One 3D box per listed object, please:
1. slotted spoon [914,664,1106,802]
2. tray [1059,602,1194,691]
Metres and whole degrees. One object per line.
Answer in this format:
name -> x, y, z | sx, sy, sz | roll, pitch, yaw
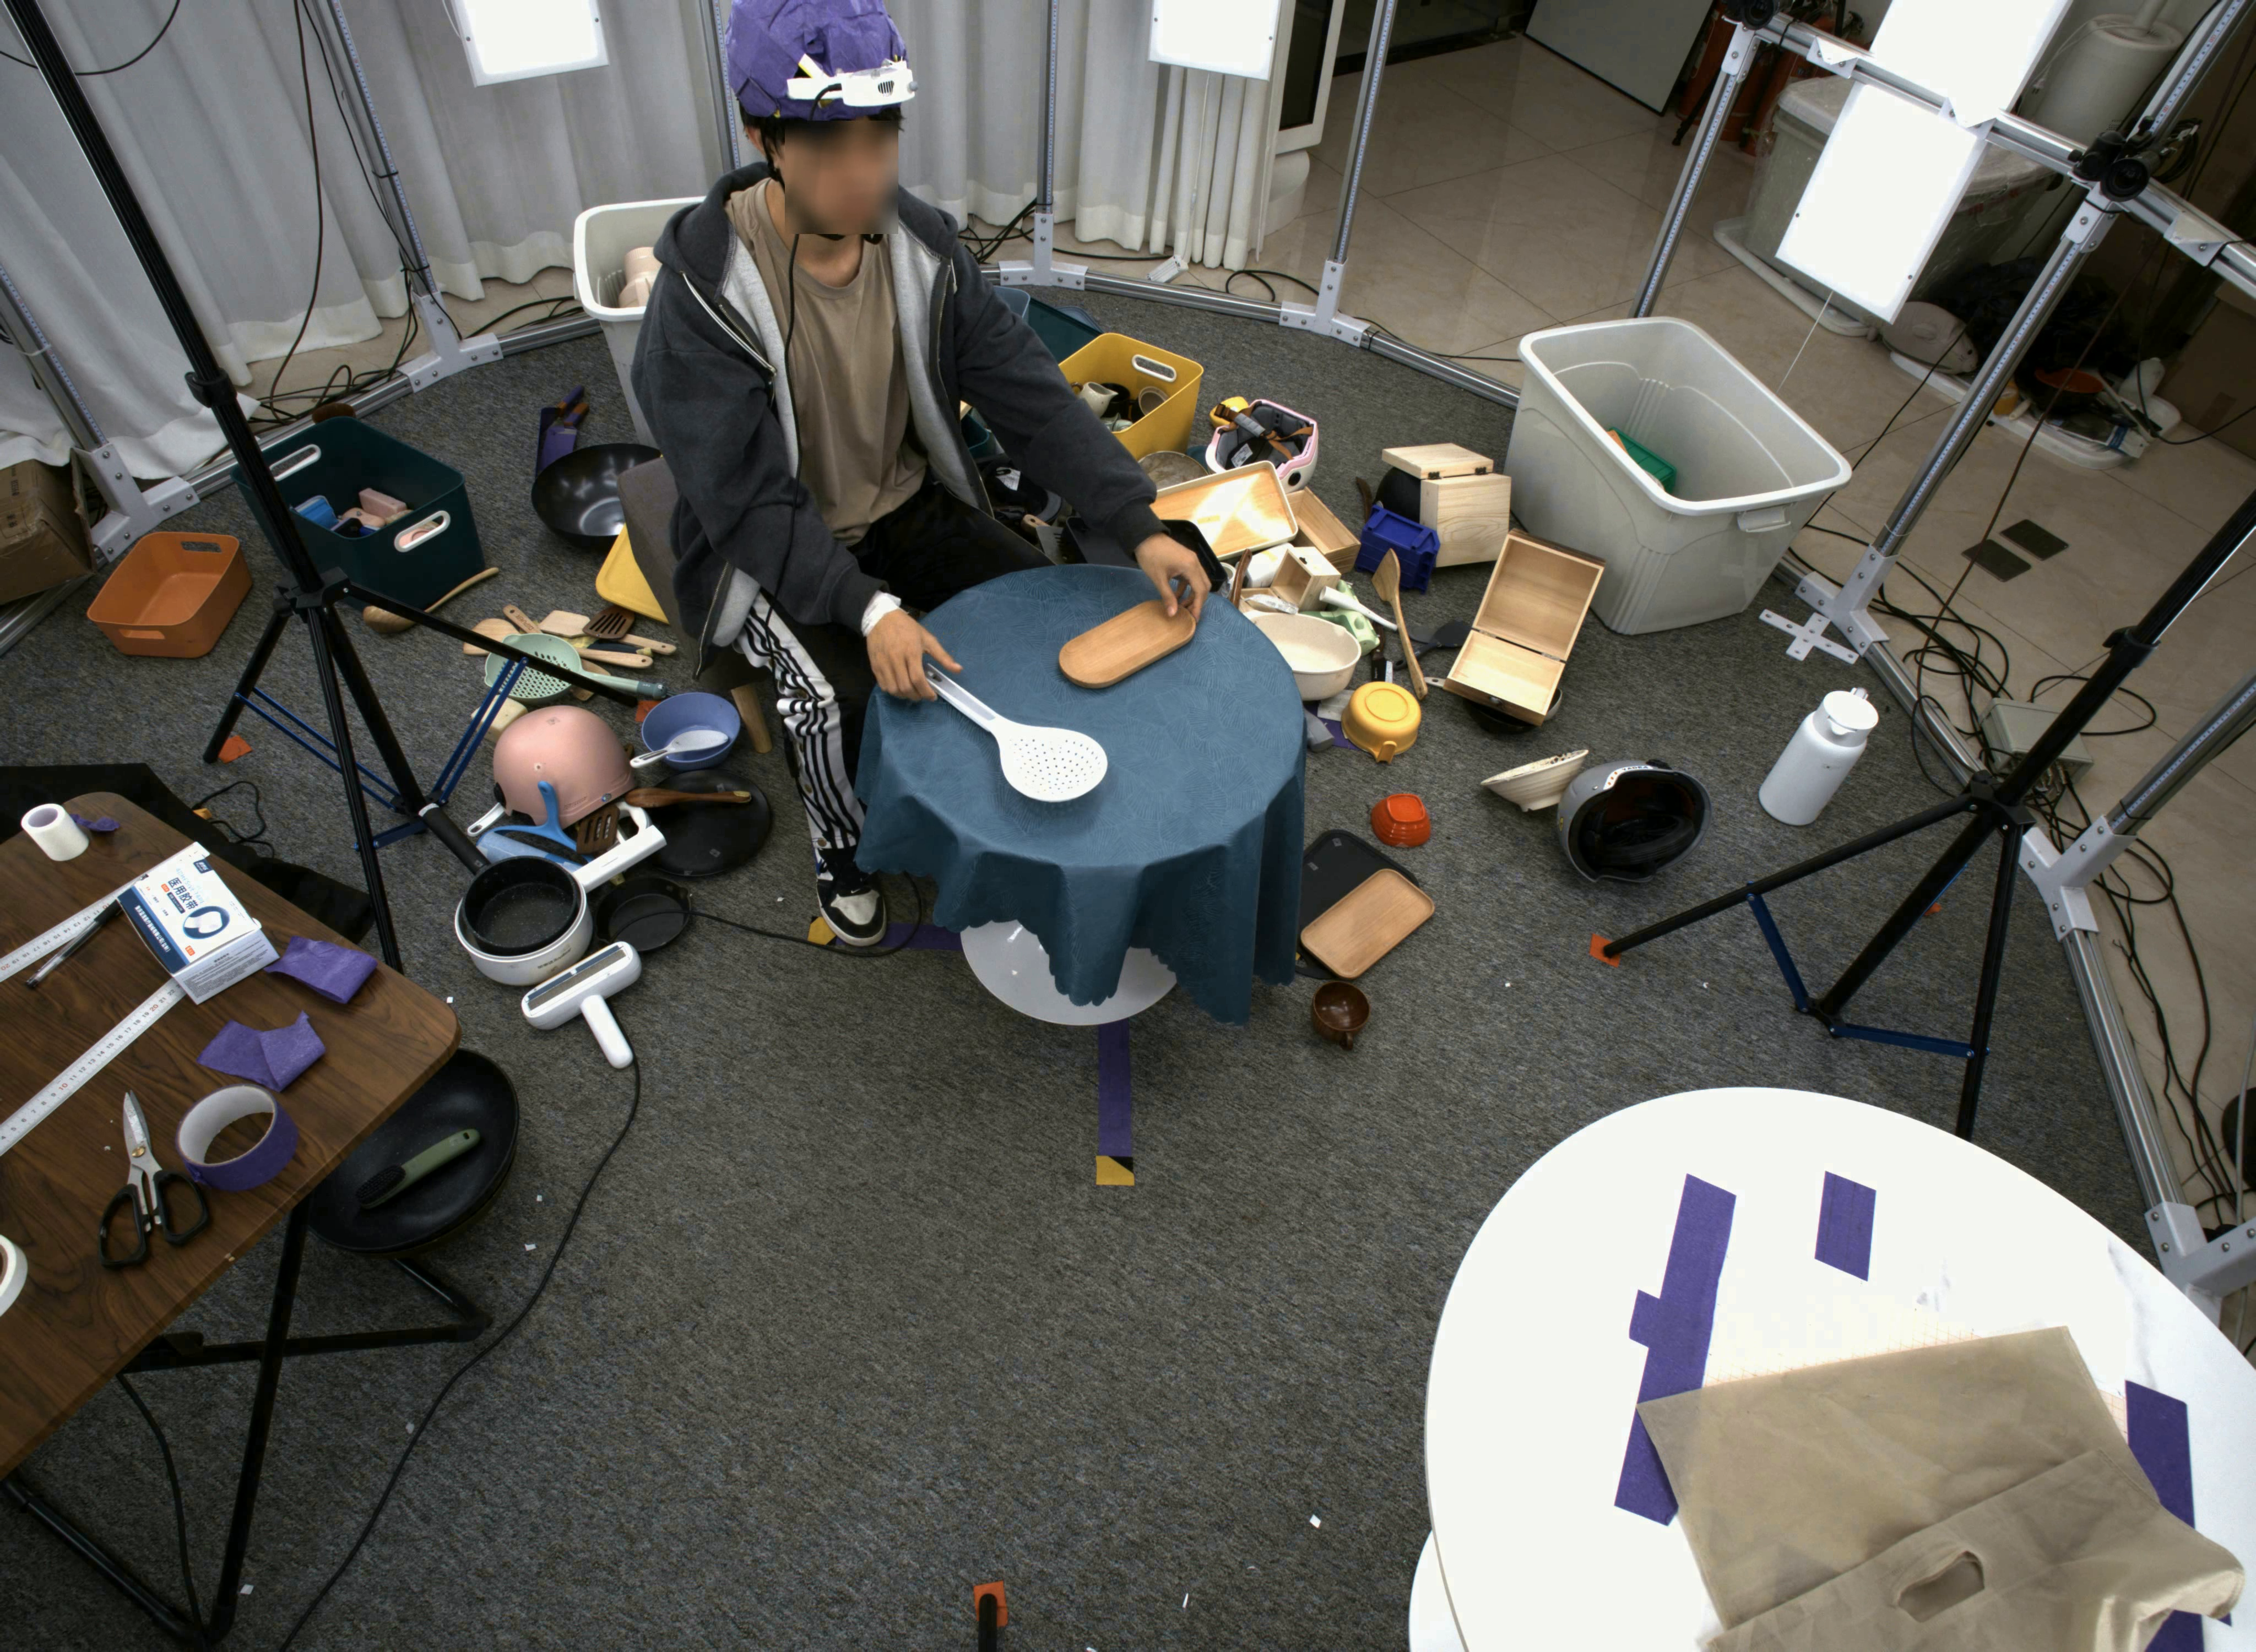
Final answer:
slotted spoon -> -0.173, -0.131, 1.739 | 0.137, 0.044, 0.355 | -34, 58, -30
tray -> -0.001, -0.265, 1.886 | 0.233, 0.020, 0.103 | -33, 57, -27
